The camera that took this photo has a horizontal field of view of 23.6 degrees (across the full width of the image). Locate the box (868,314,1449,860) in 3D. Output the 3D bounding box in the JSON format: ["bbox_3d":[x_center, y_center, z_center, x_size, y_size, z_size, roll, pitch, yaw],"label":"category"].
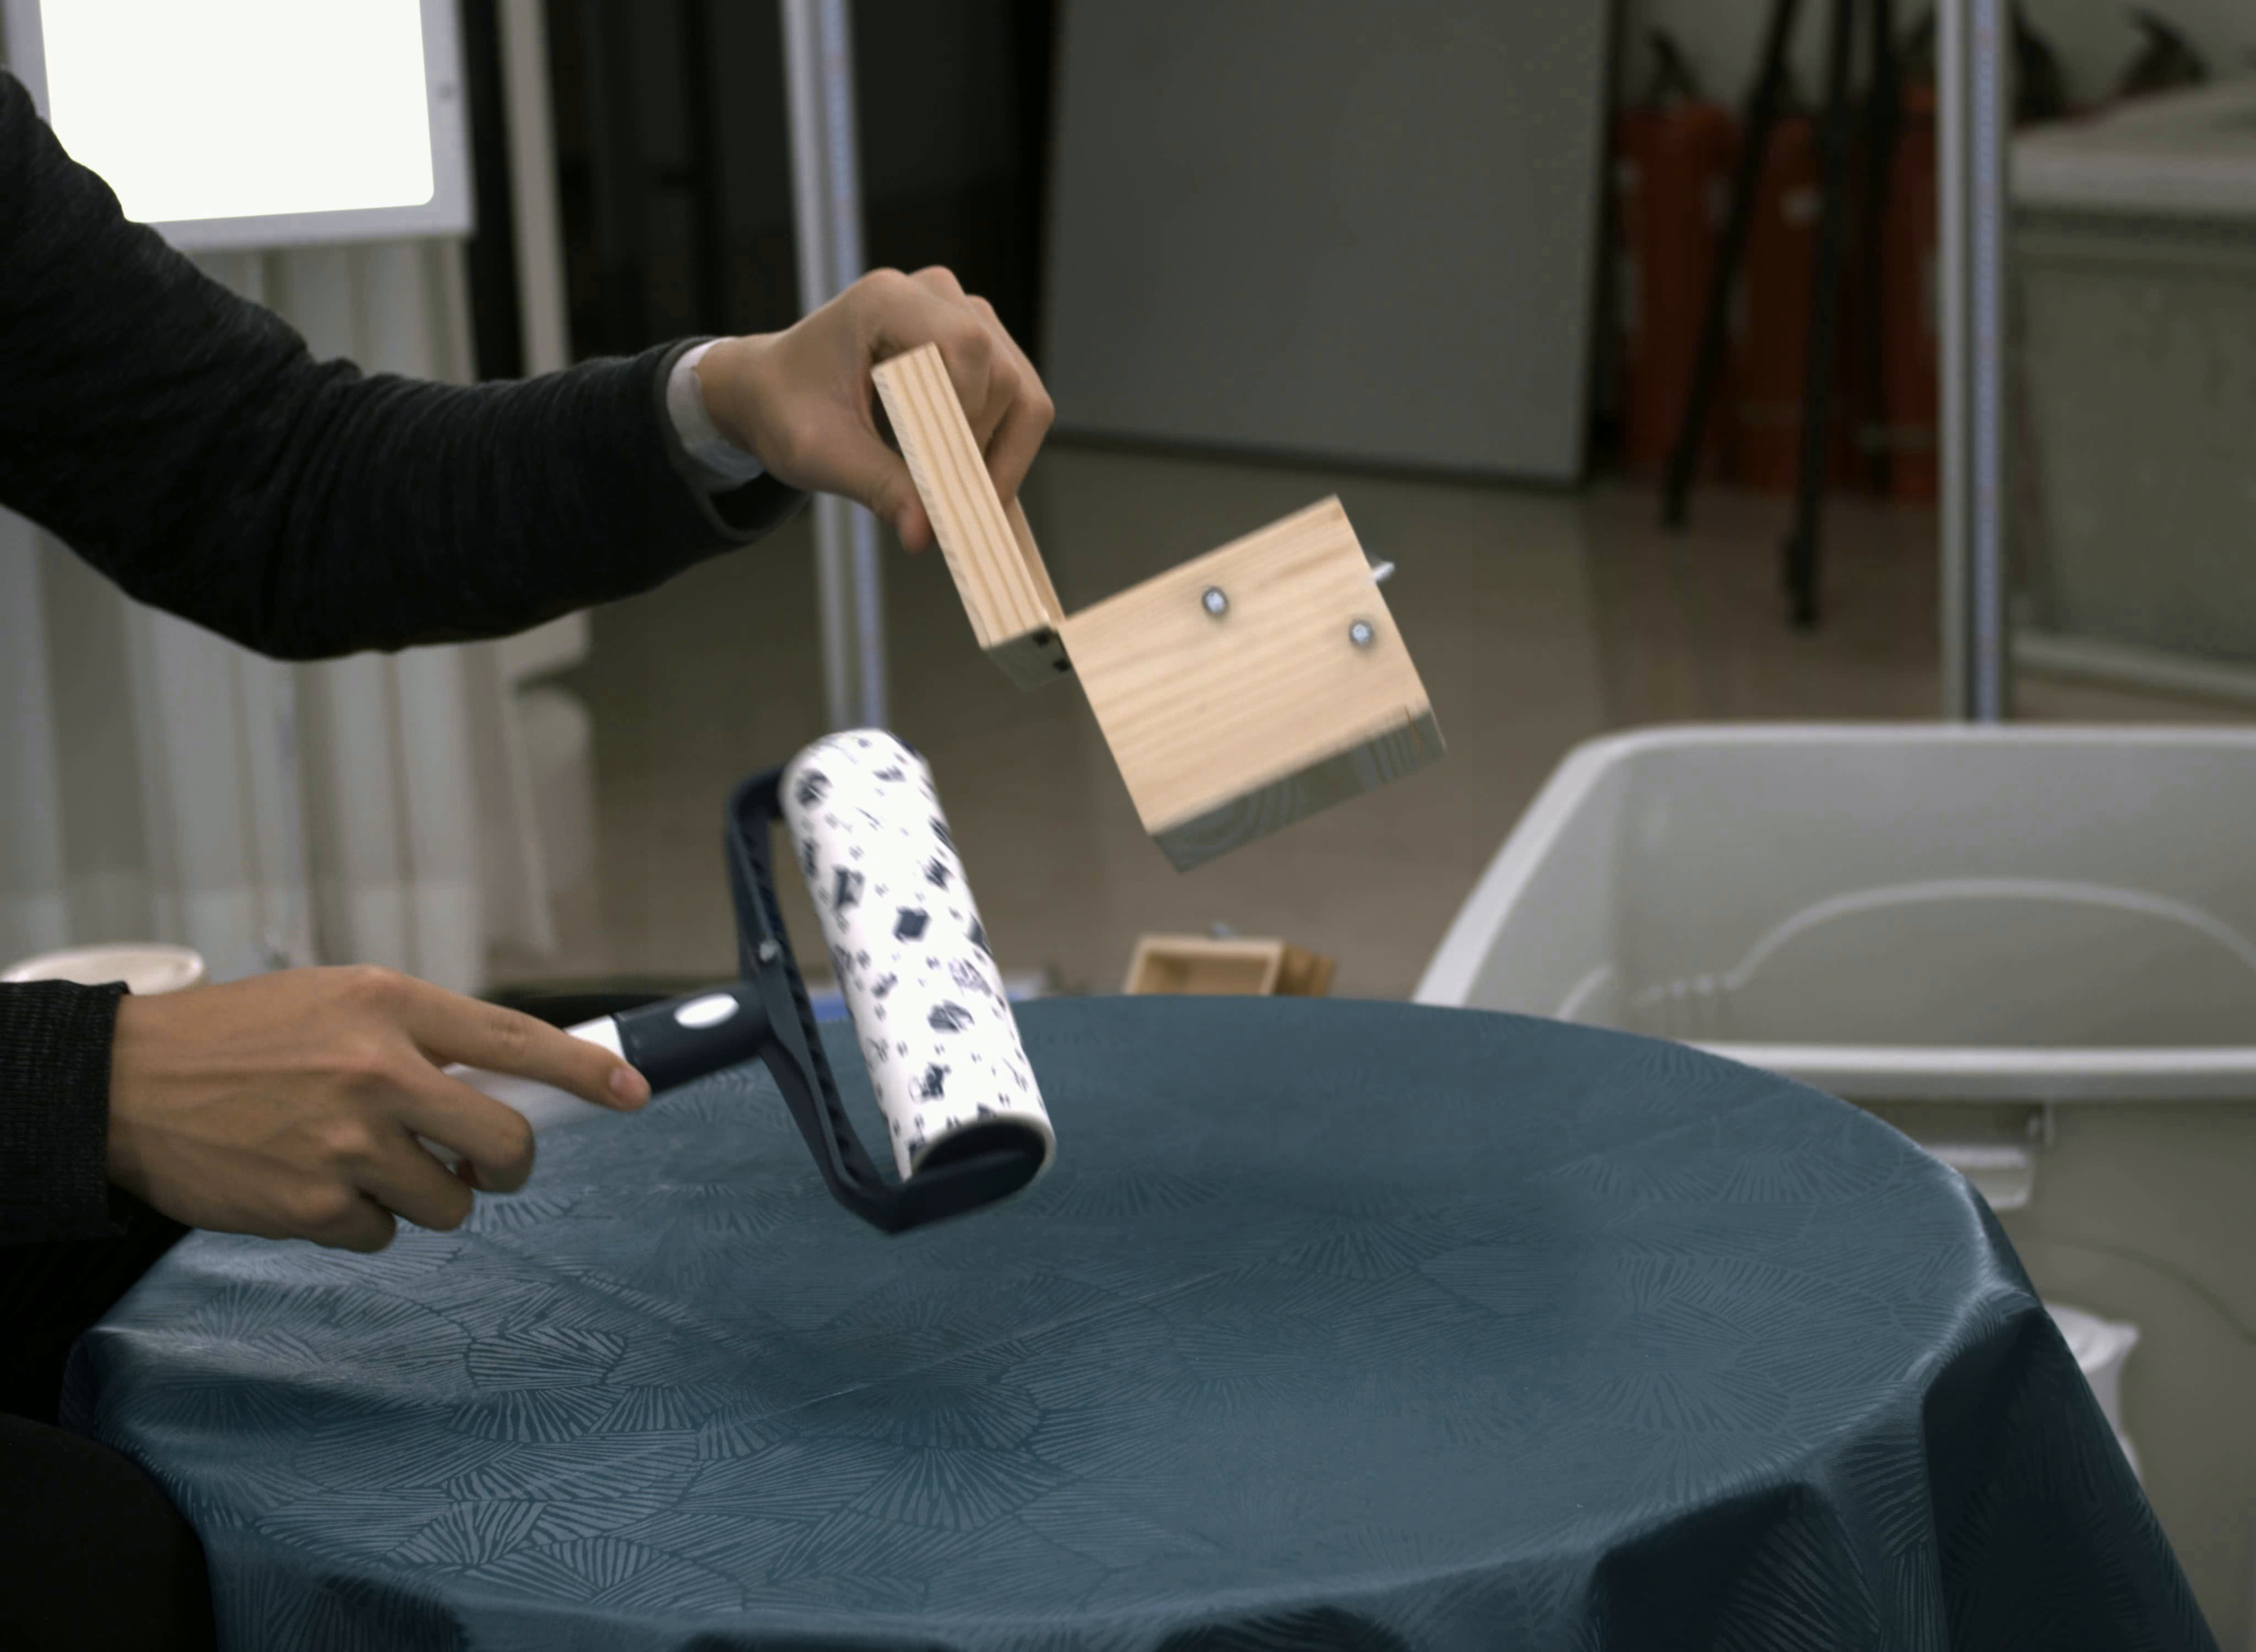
[{"bbox_3d":[0.012,-0.096,1.783,0.133,0.186,0.102,-25,-12,4],"label":"box"}]

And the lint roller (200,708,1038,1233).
[{"bbox_3d":[-0.163,0.069,1.636,0.244,0.050,0.178,-19,51,-5],"label":"lint roller"}]
